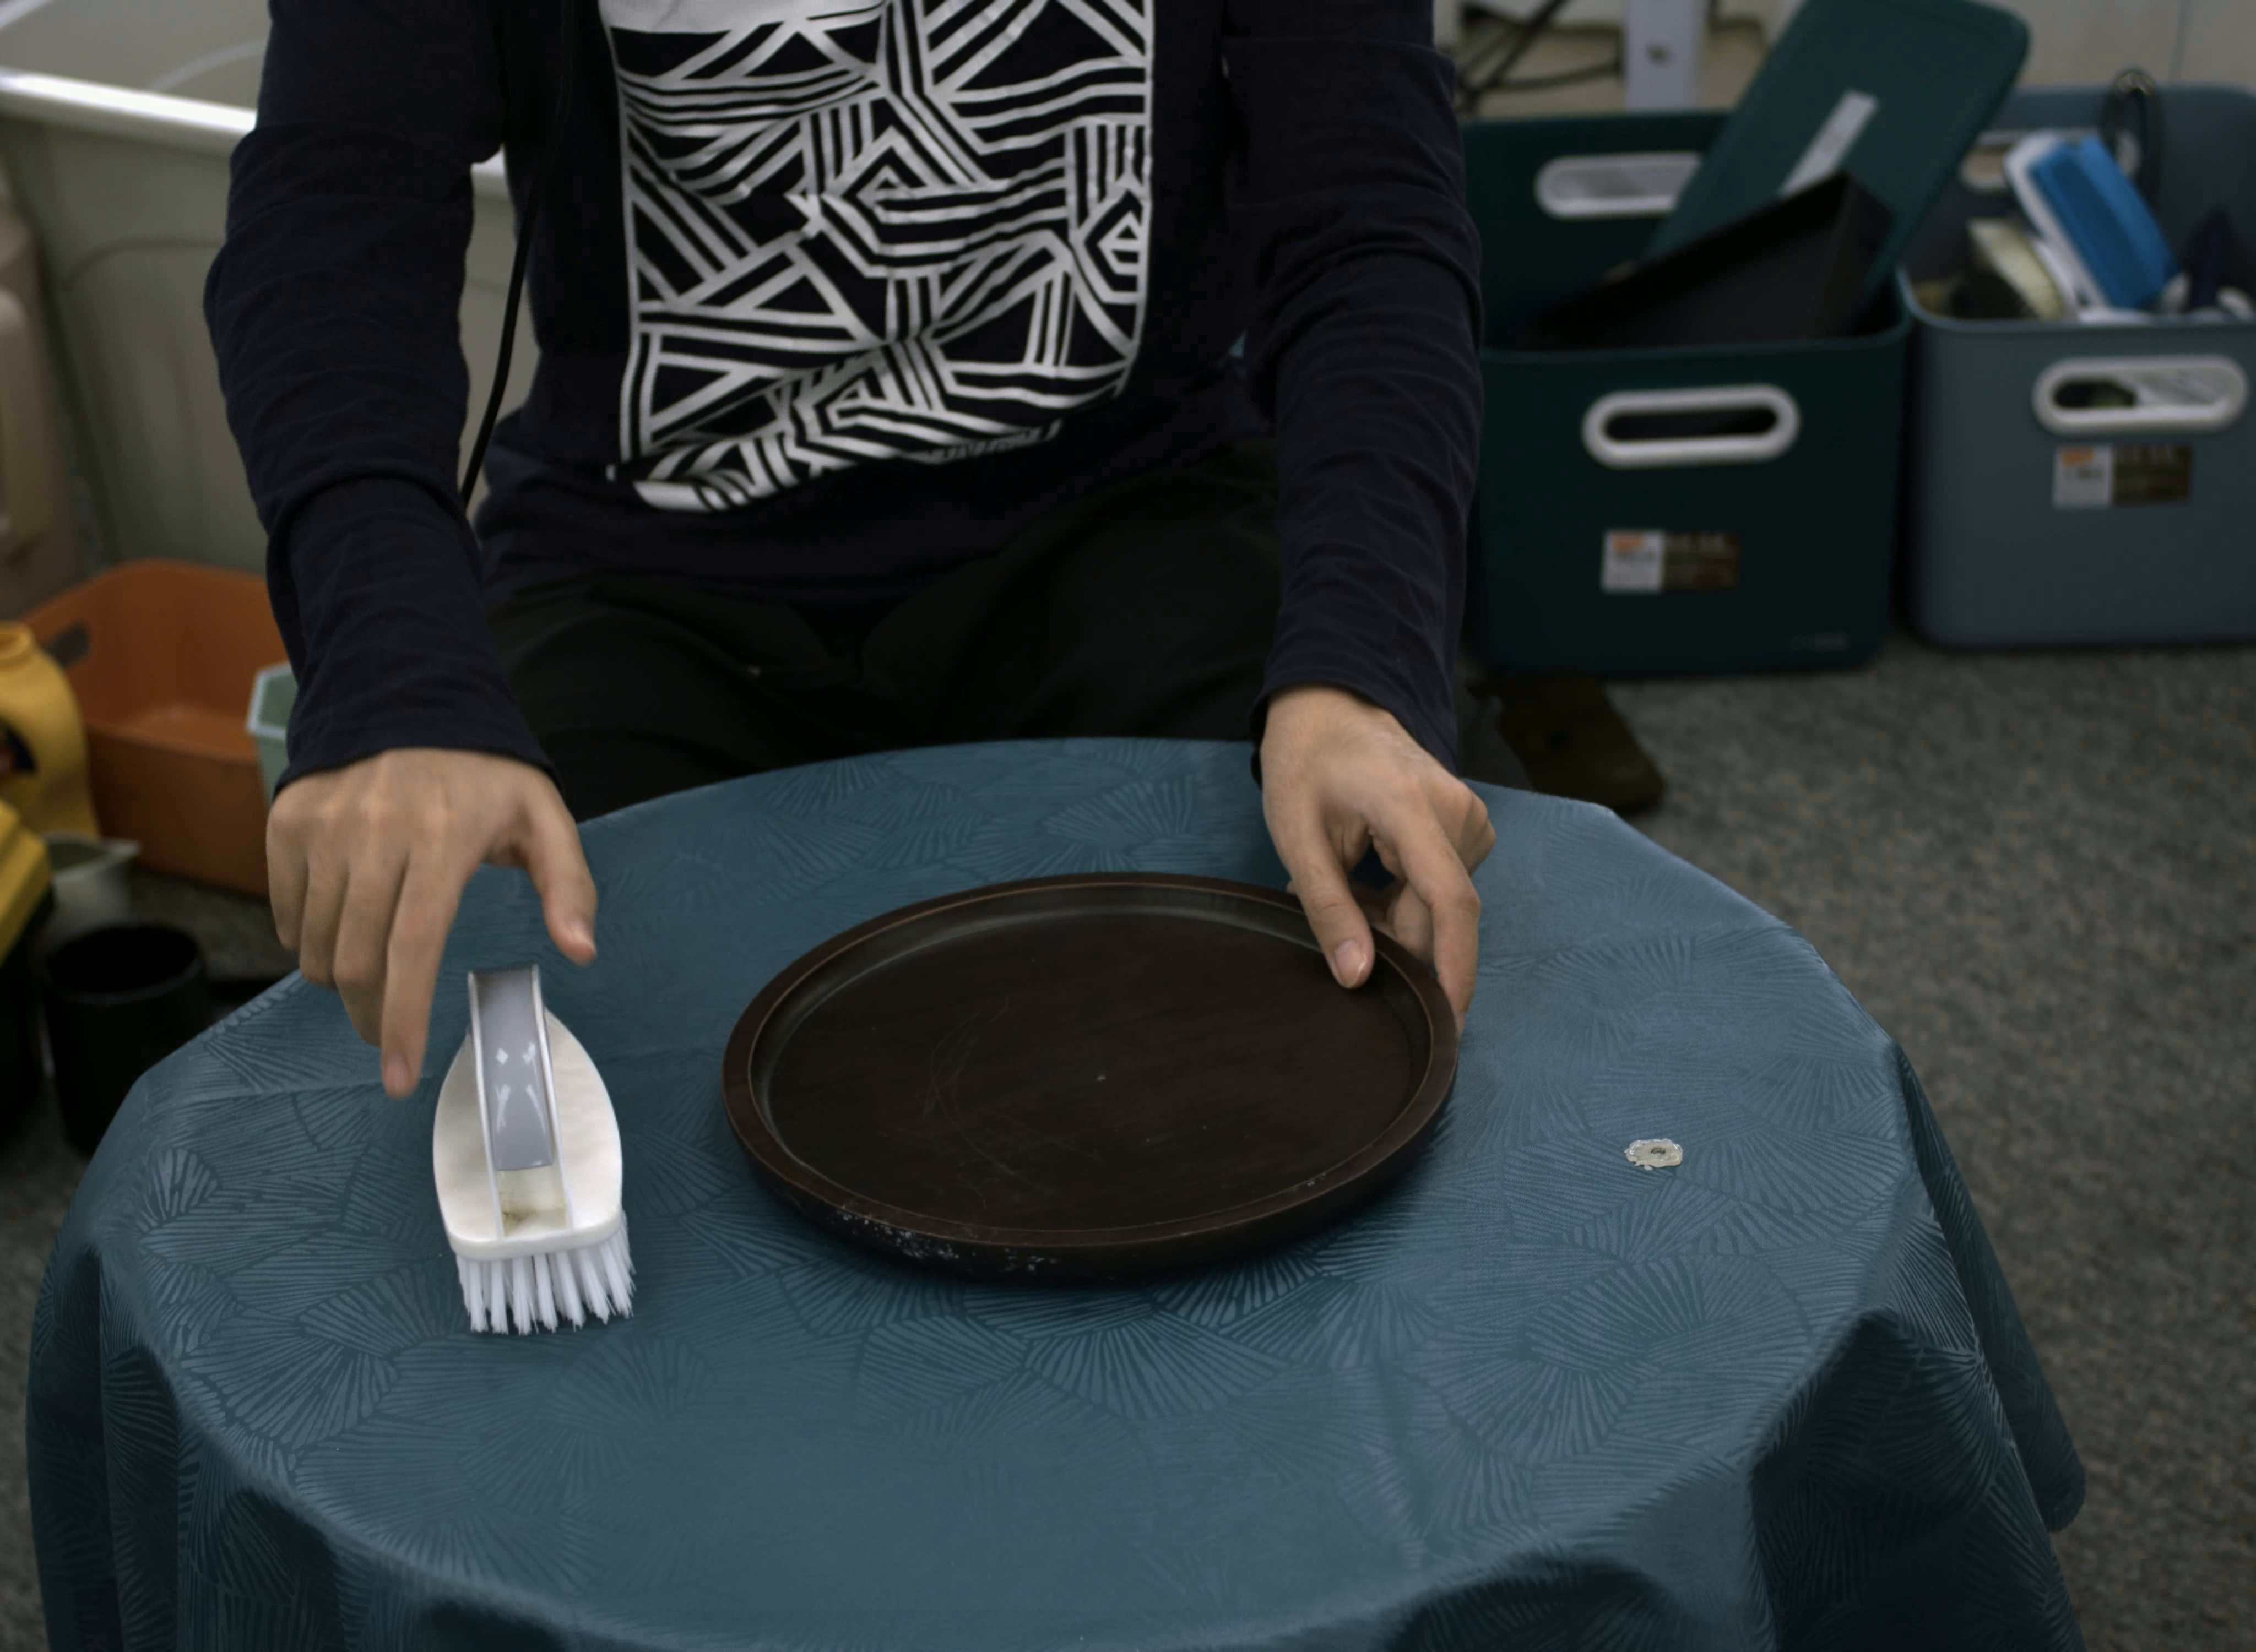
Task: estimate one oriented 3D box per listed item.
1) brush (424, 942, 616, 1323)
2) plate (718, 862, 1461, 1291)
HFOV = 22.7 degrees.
[{"bbox_3d":[-0.204,0.086,1.851,0.061,0.093,0.177,-6,25,-6],"label":"brush"},{"bbox_3d":[-0.013,0.085,1.907,0.253,0.029,0.259,-2,28,1],"label":"plate"}]
